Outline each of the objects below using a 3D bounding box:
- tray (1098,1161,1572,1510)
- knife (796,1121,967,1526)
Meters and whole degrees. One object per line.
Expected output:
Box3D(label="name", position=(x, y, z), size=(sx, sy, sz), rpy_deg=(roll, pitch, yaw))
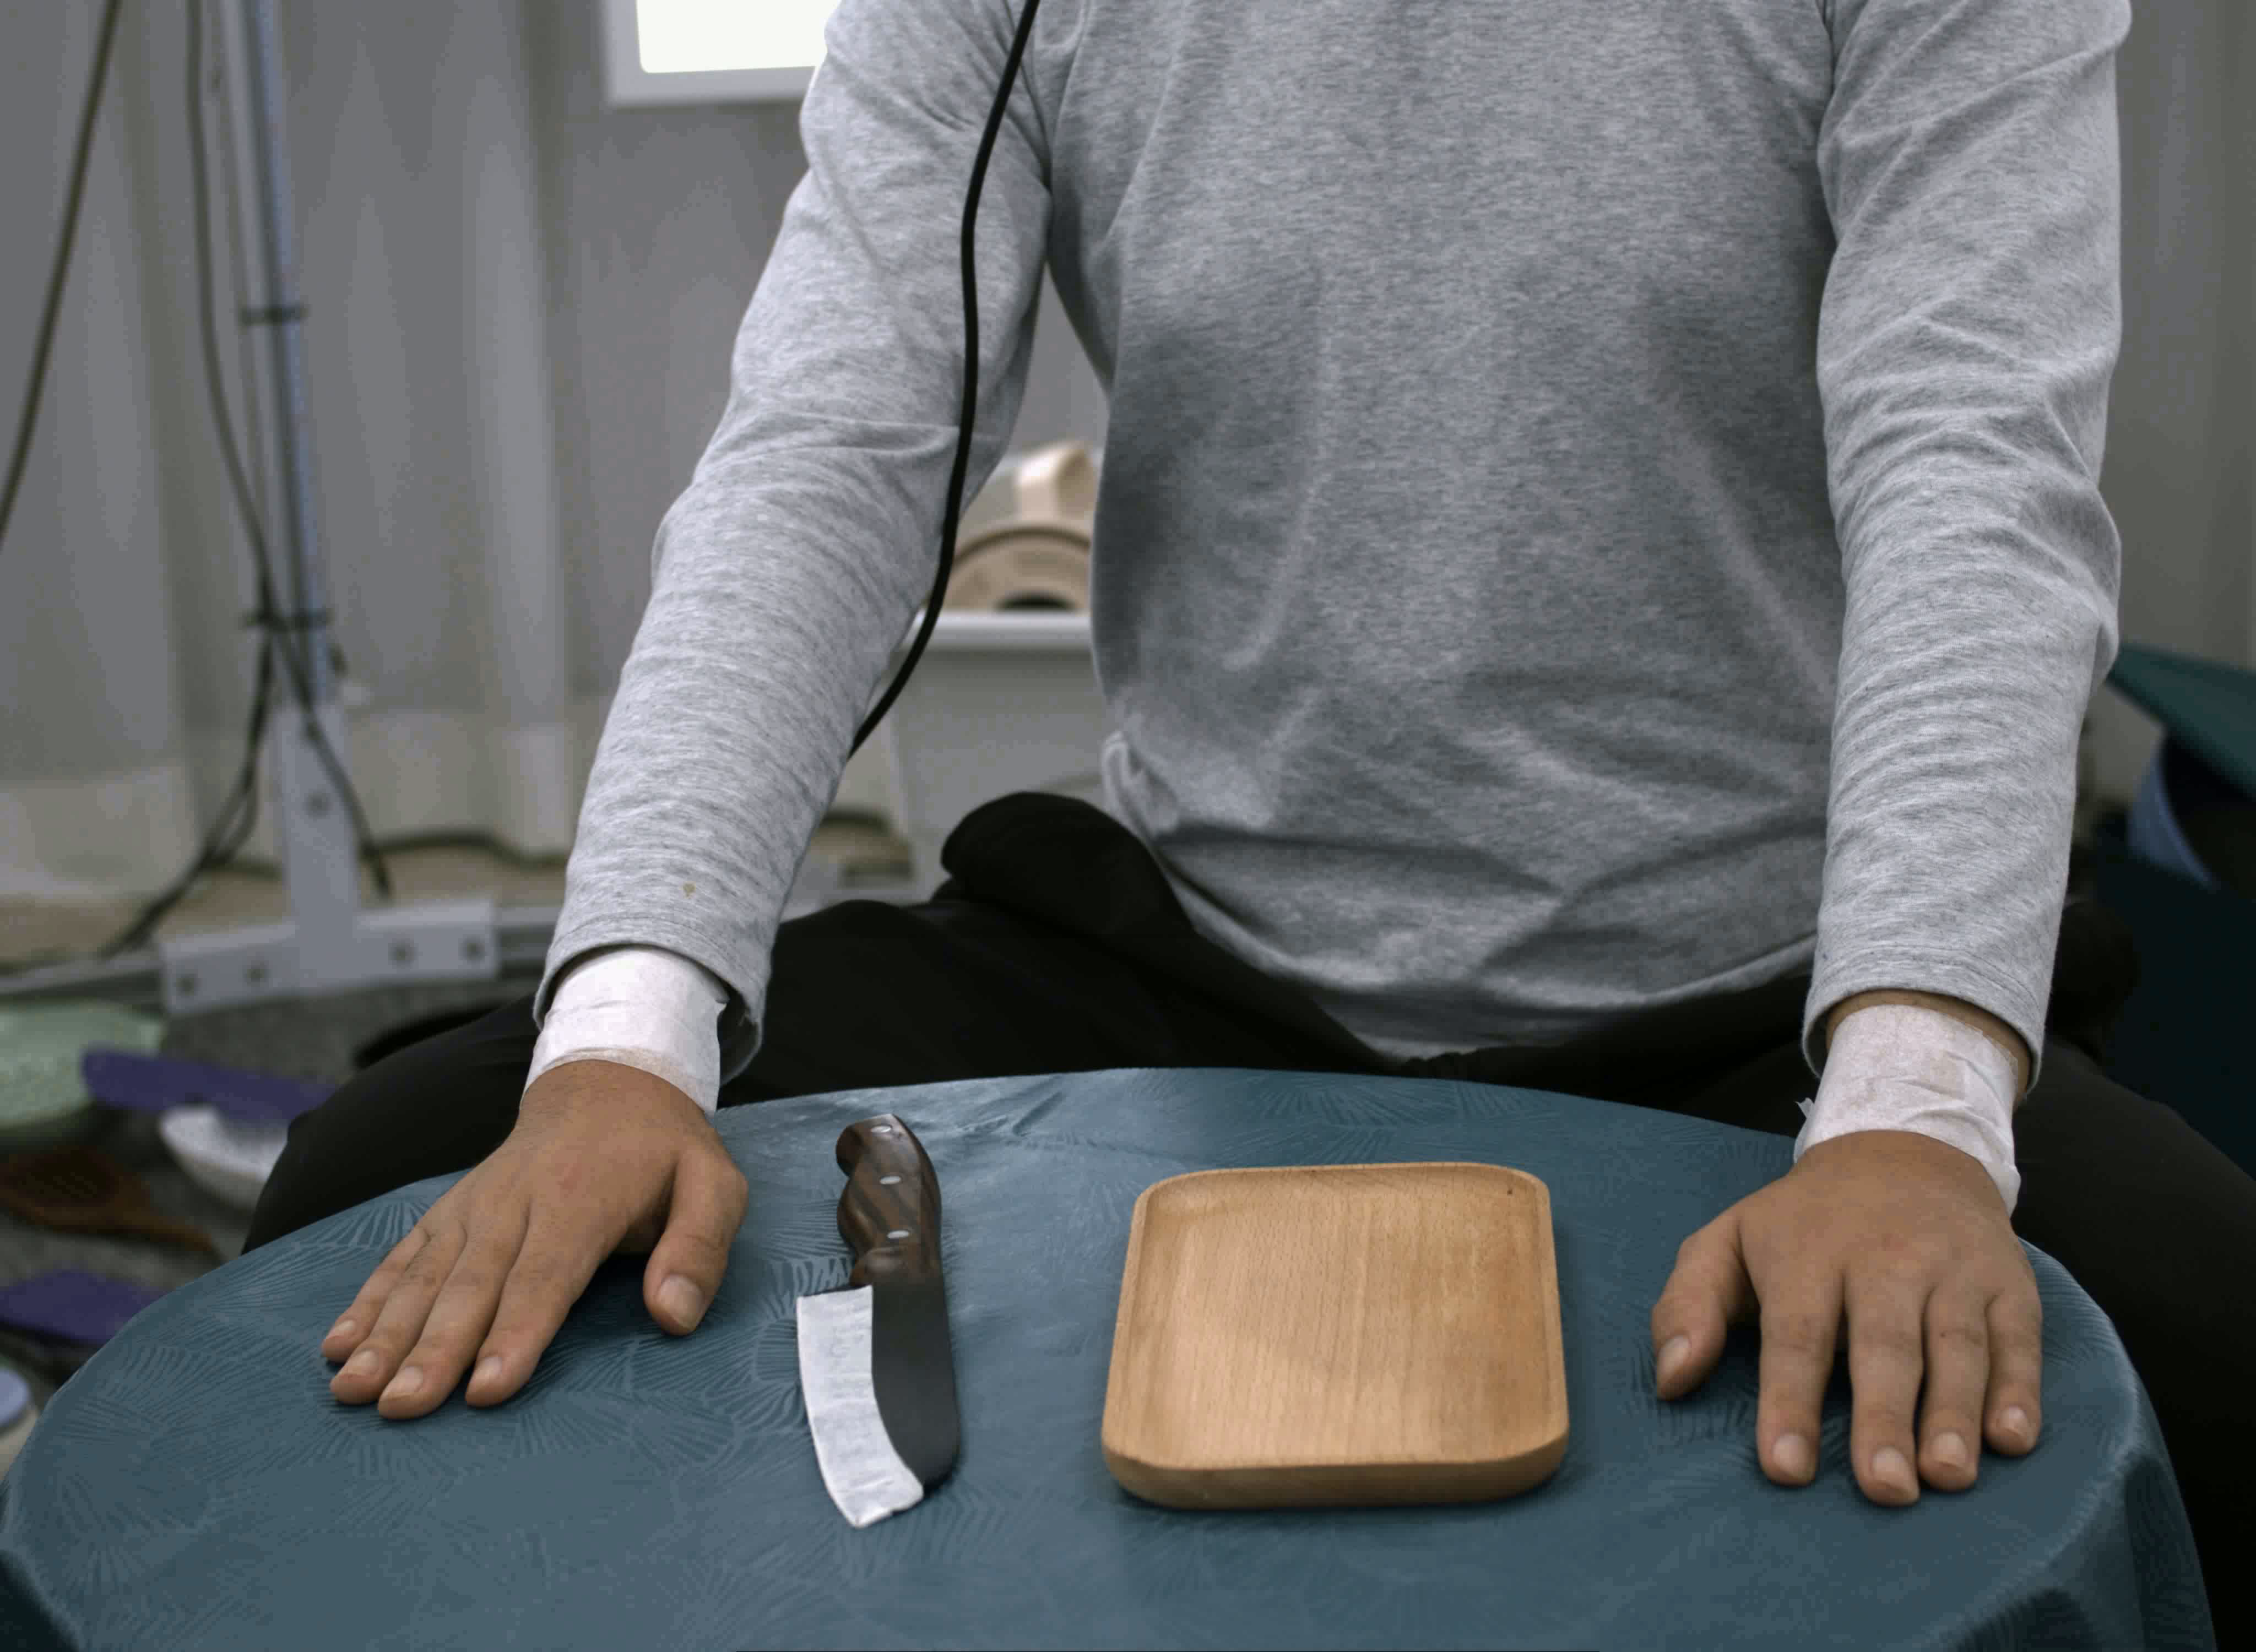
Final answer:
Box3D(label="tray", position=(0.061, 0.143, 1.568), size=(0.130, 0.023, 0.252), rpy_deg=(1, 14, 4))
Box3D(label="knife", position=(-0.072, 0.144, 1.594), size=(0.050, 0.020, 0.291), rpy_deg=(-8, 17, 0))
